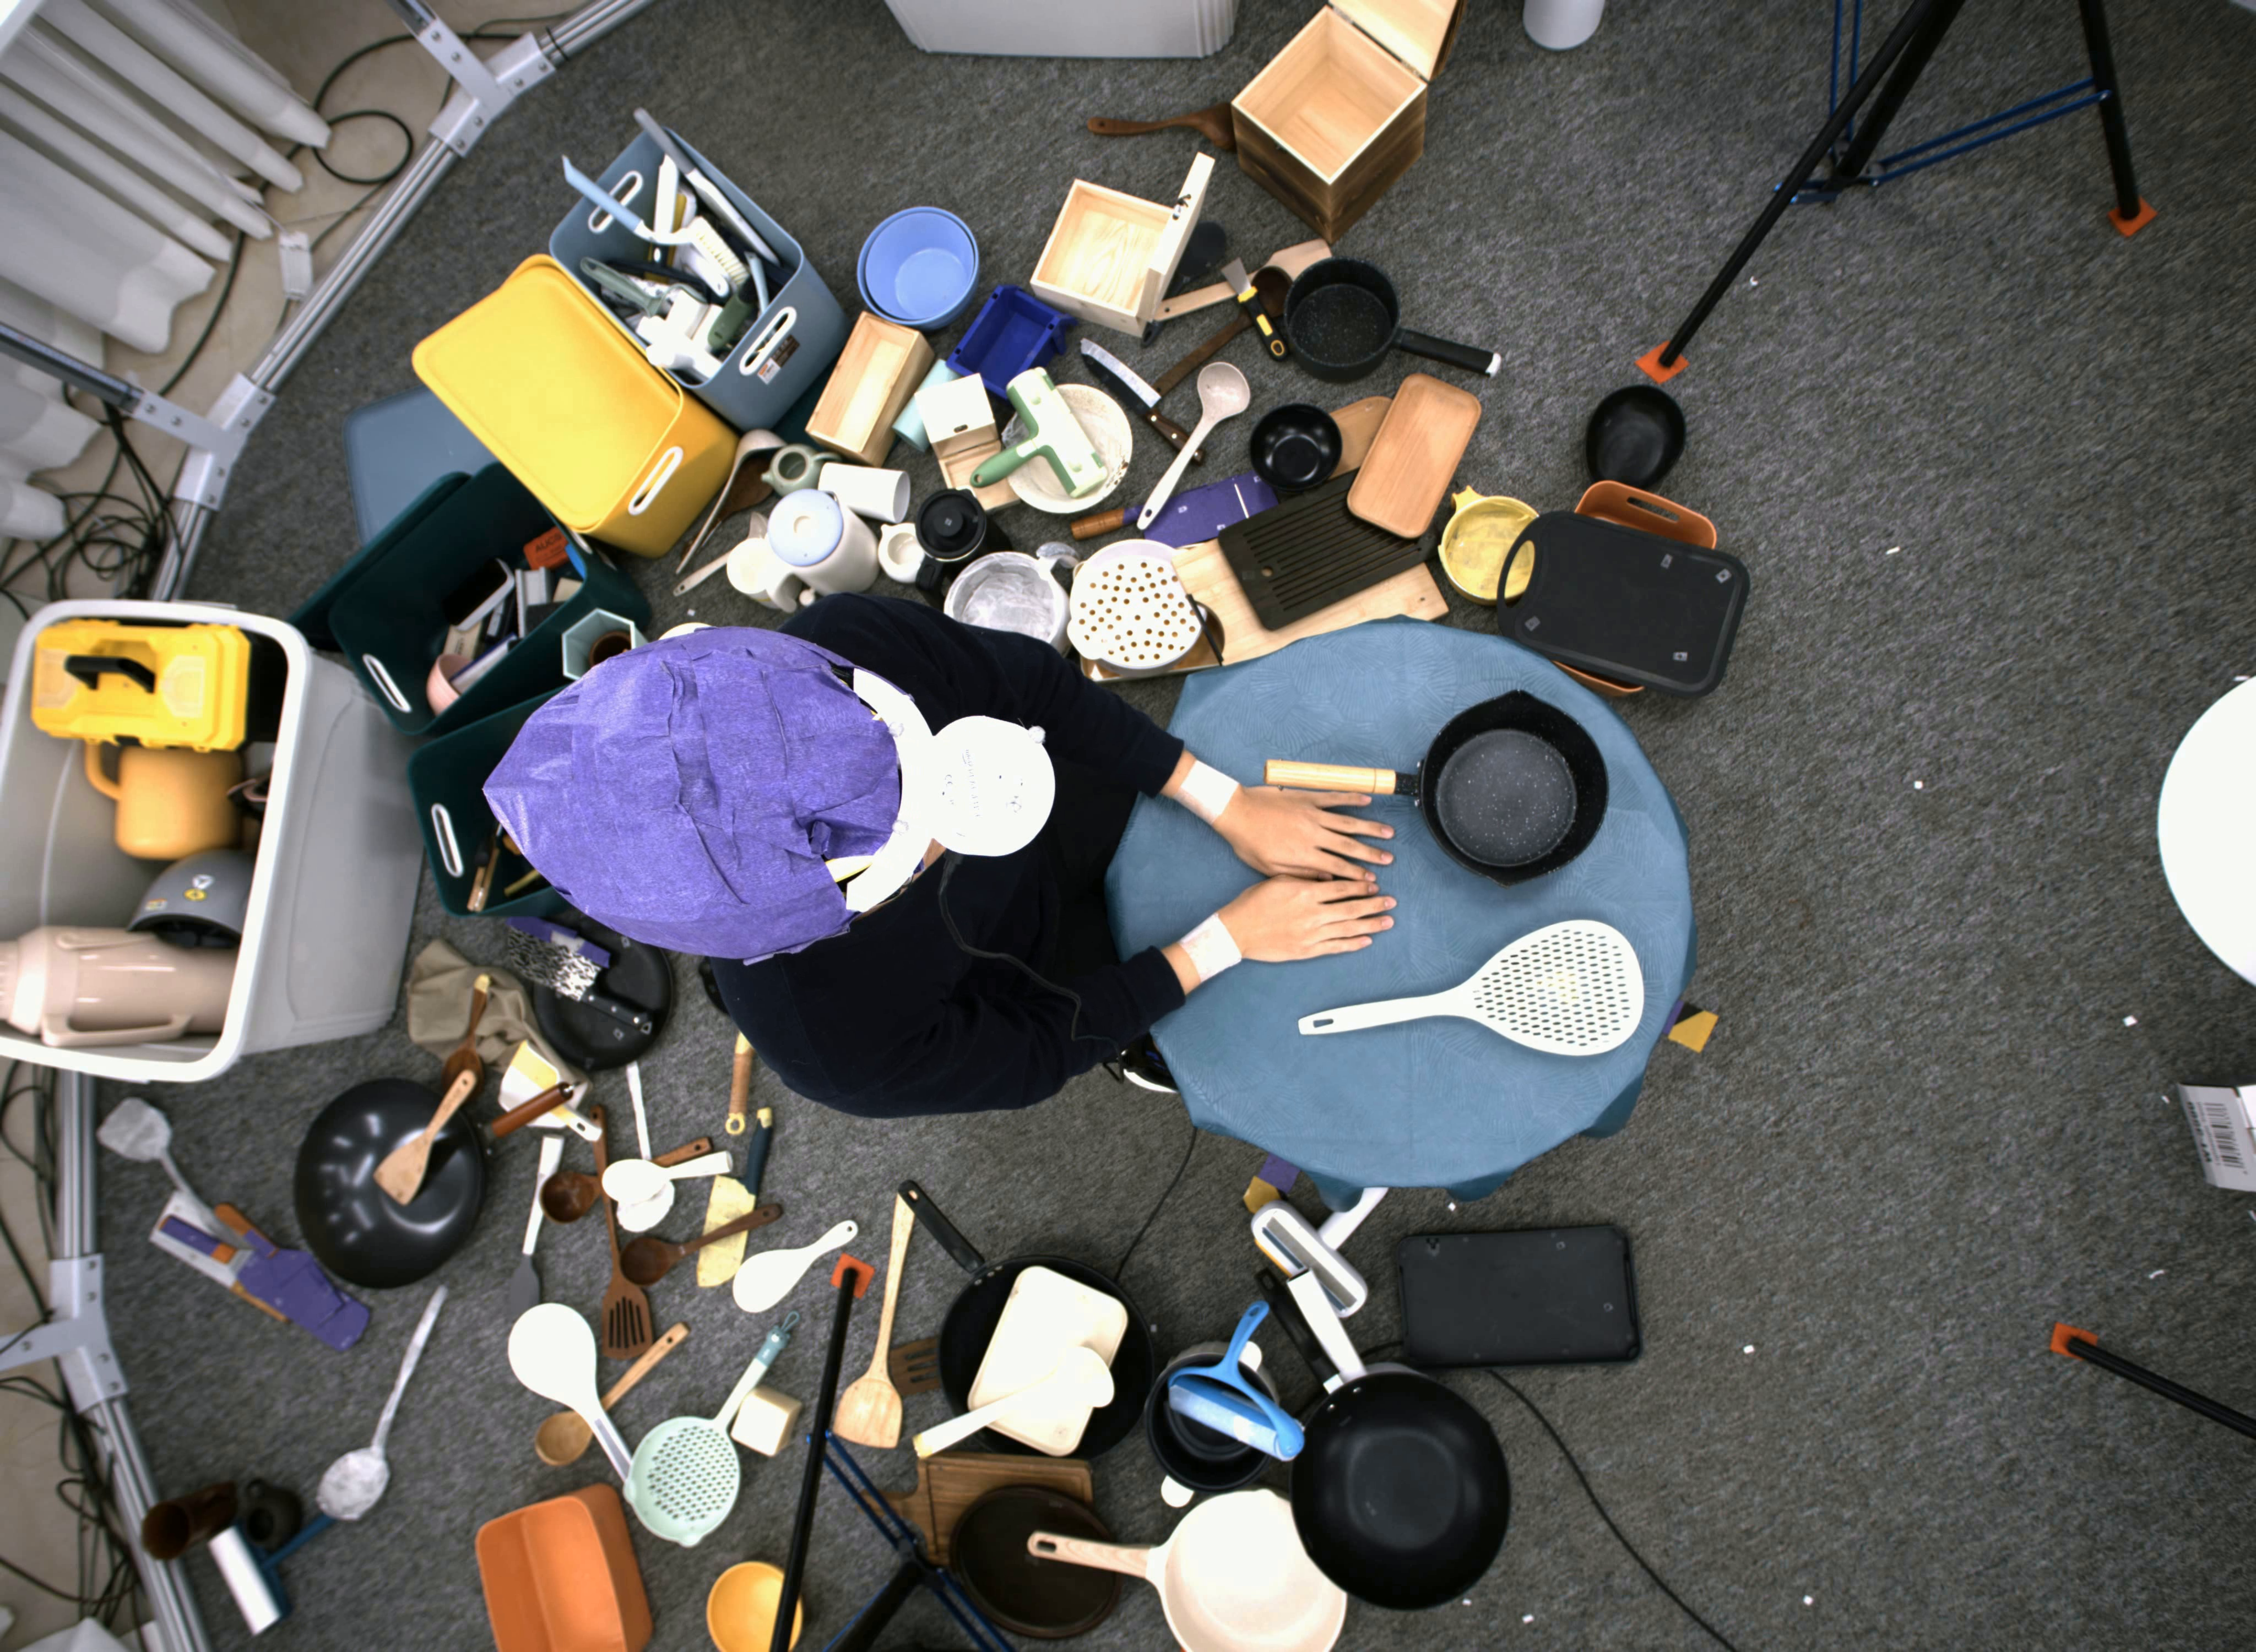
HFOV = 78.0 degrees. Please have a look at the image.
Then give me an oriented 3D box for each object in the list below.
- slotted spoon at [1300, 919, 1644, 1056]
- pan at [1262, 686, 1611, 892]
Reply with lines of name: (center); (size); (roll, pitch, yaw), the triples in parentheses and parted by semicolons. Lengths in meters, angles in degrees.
slotted spoon: (0.348, 0.180, 1.417); (0.349, 0.050, 0.136); (-10, 87, 8)
pan: (0.310, -0.040, 1.404); (0.344, 0.108, 0.207); (3, 88, 9)
